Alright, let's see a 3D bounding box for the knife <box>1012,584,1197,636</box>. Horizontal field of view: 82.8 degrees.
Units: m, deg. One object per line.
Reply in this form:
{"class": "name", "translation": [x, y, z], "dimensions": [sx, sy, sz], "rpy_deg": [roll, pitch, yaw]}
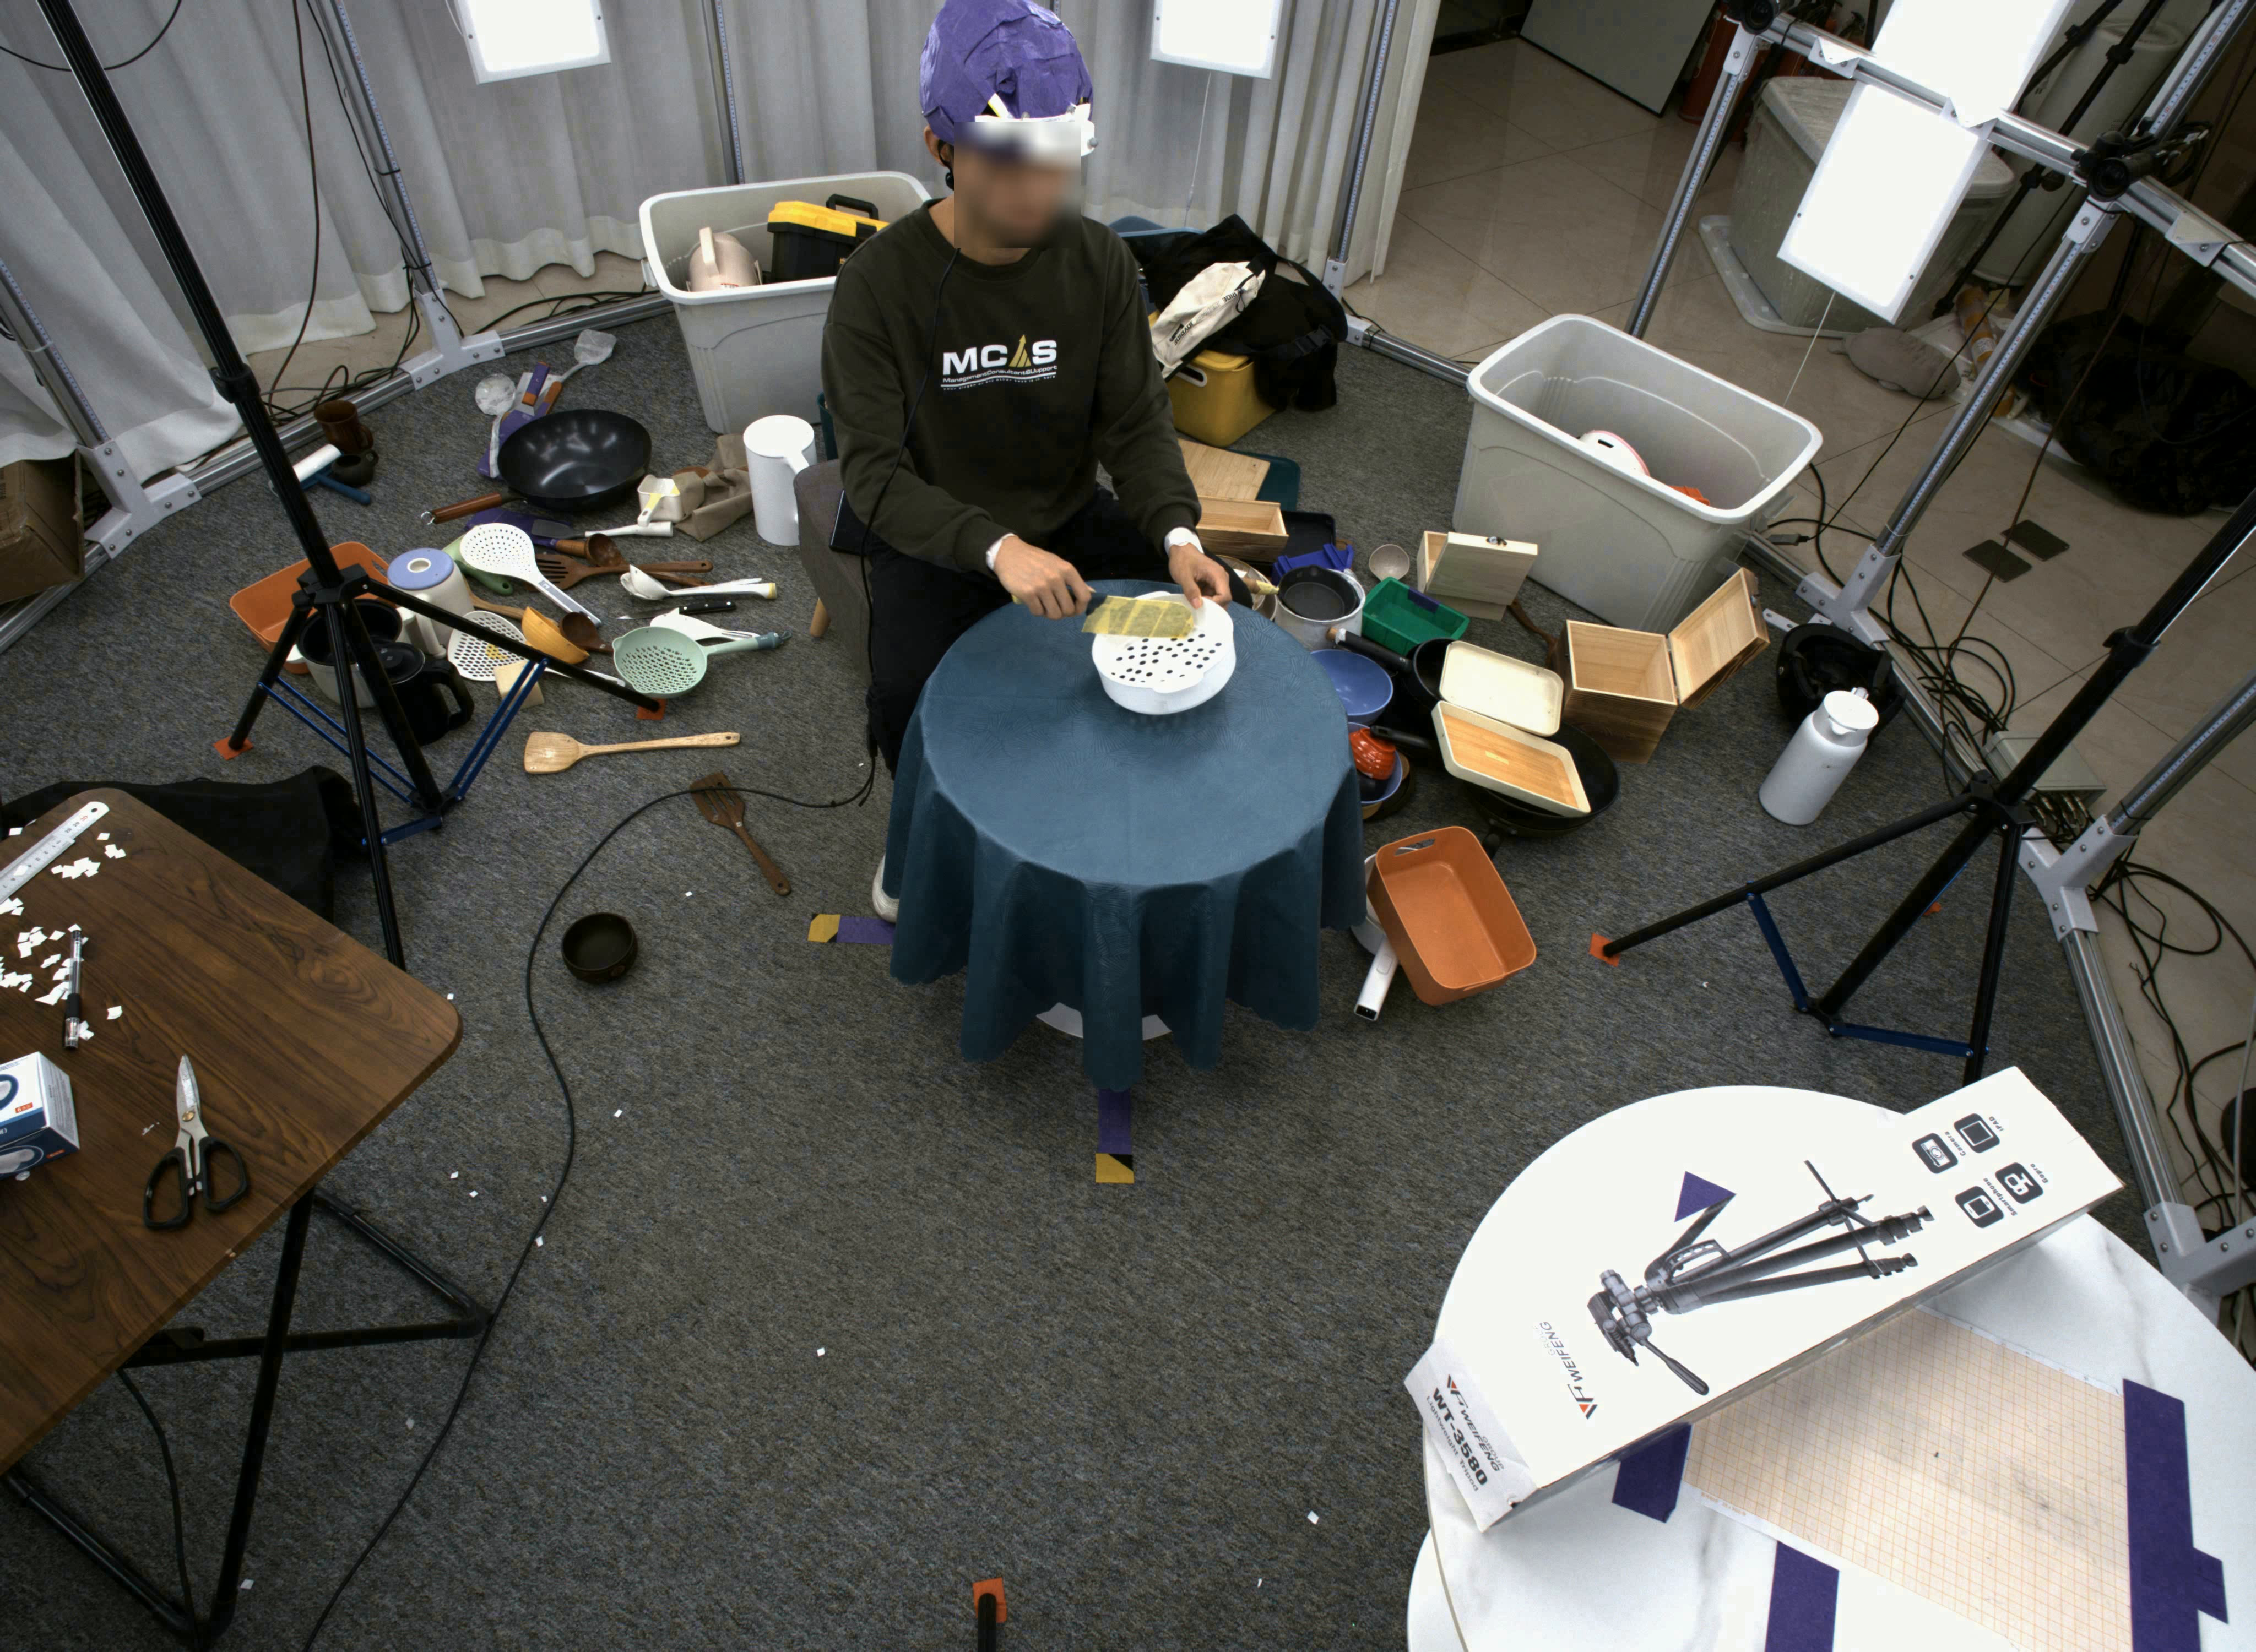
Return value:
{"class": "knife", "translation": [-0.030, -0.299, 1.799], "dimensions": [0.288, 0.079, 0.028], "rpy_deg": [4, 50, -25]}

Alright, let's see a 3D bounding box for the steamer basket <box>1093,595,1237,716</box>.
{"class": "steamer basket", "translation": [0.054, -0.239, 1.810], "dimensions": [0.202, 0.067, 0.236], "rpy_deg": [-15, 42, 0]}
